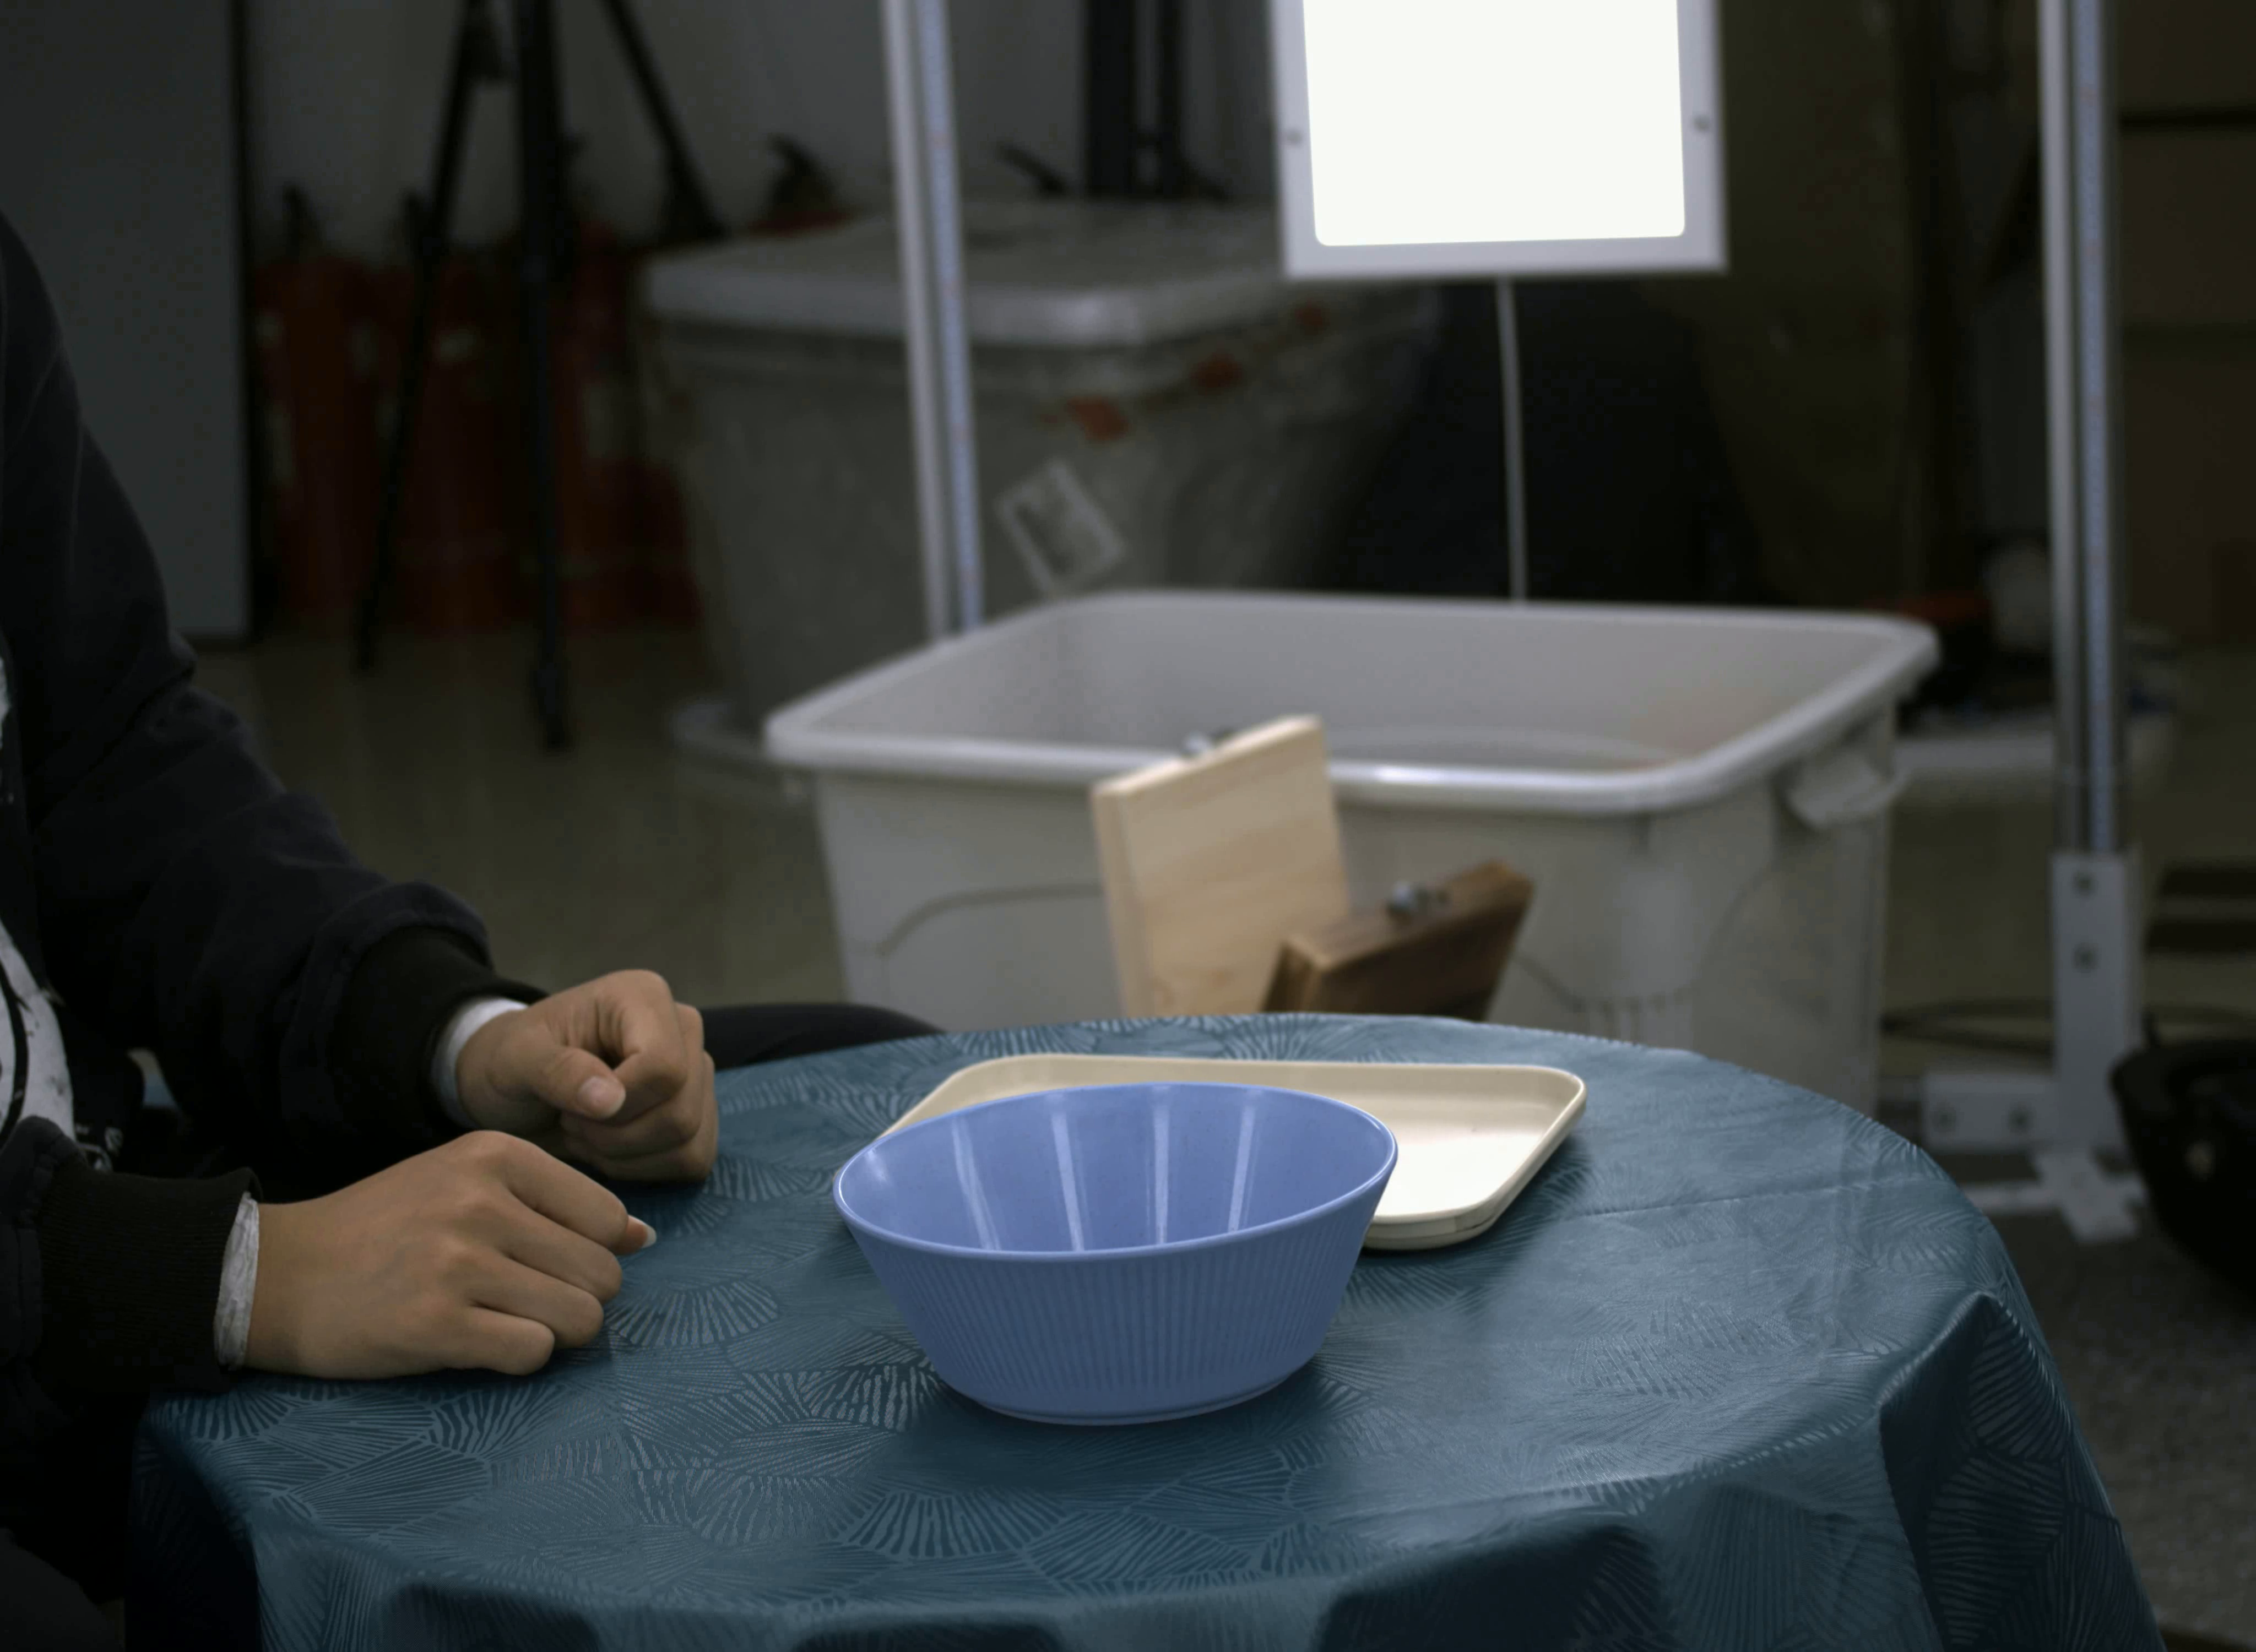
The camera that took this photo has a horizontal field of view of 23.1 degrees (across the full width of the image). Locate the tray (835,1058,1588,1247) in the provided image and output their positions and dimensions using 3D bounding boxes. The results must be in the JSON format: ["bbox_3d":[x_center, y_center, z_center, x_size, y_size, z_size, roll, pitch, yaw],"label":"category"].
[{"bbox_3d":[0.031,0.113,1.905,0.243,0.017,0.168,0,14,21],"label":"tray"}]

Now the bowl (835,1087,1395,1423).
[{"bbox_3d":[-0.002,0.136,1.712,0.175,0.070,0.176,-5,13,0],"label":"bowl"}]
